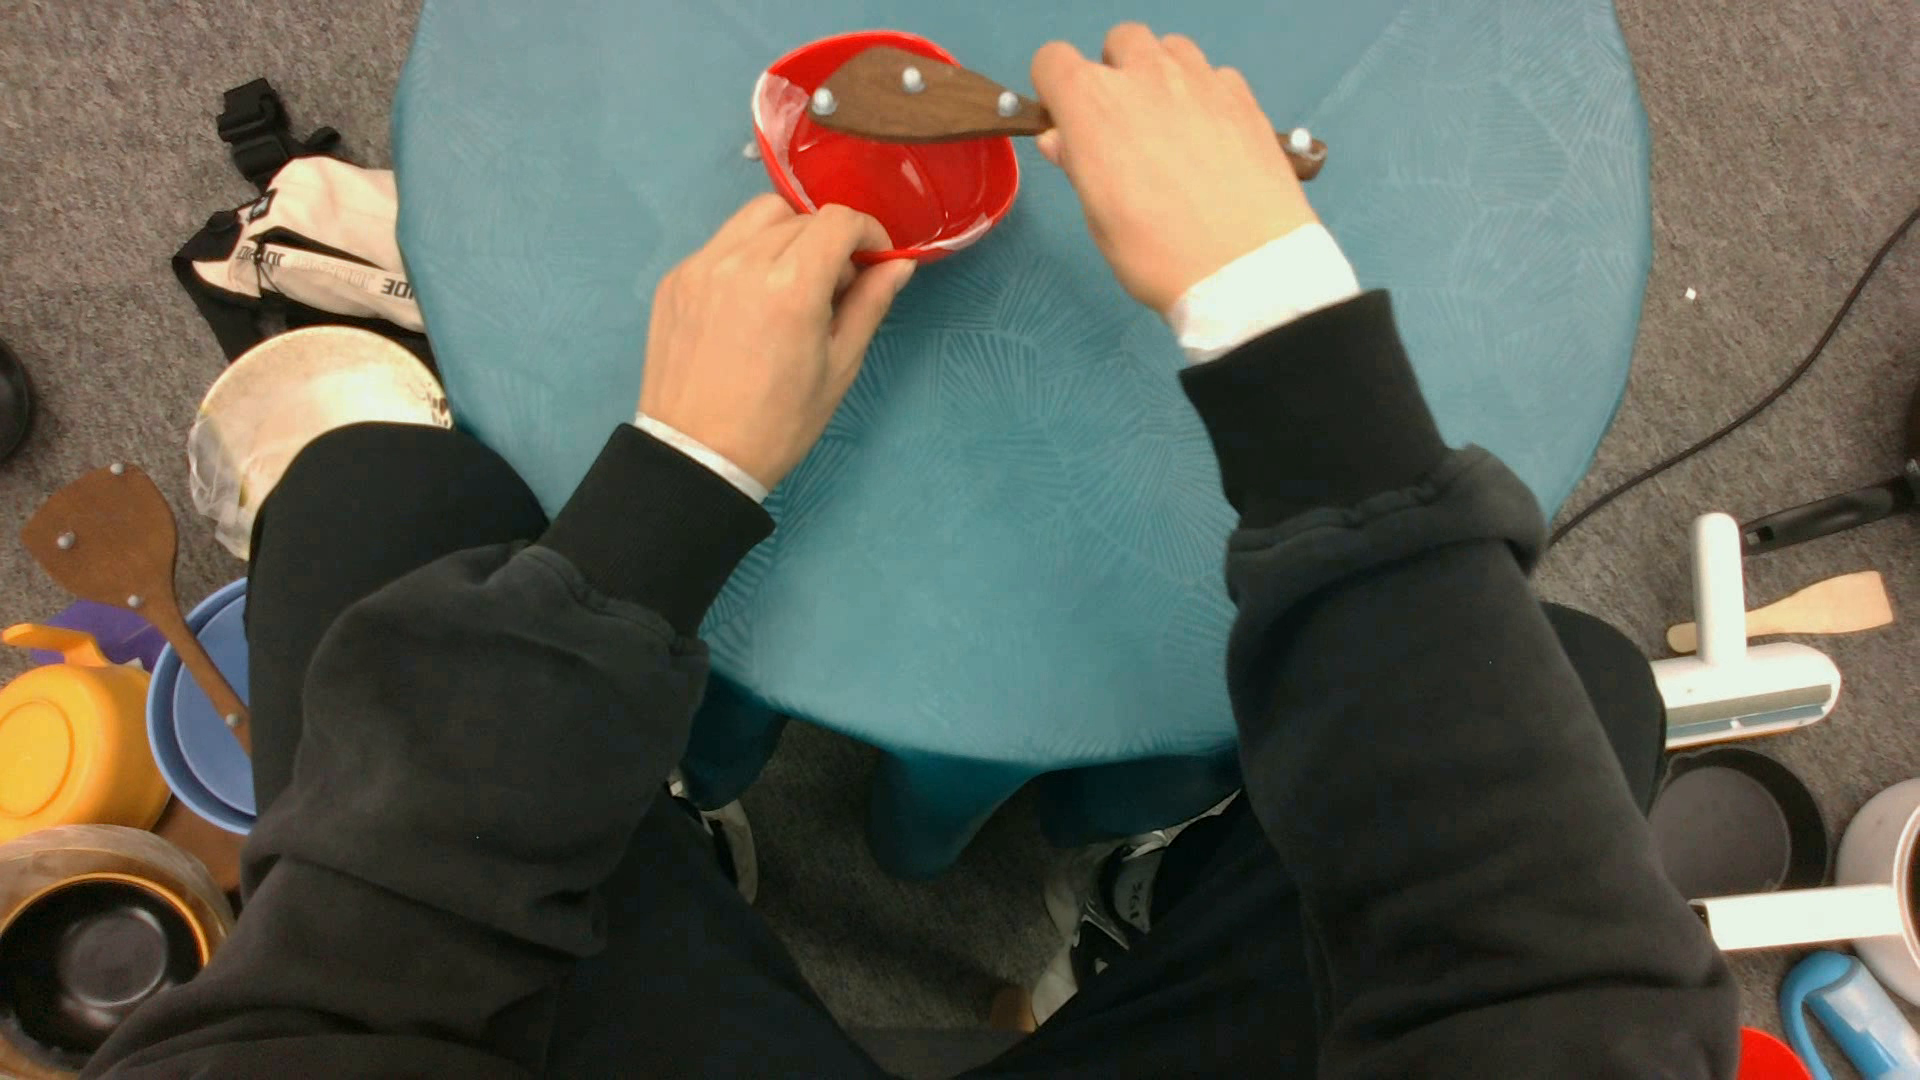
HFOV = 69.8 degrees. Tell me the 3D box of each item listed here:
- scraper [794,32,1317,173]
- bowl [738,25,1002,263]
[{"bbox_3d":[0.037,-0.172,0.552,0.211,0.011,0.076,16,46,18],"label":"scraper"},{"bbox_3d":[-0.044,-0.167,0.613,0.119,0.051,0.119,8,65,-17],"label":"bowl"}]
